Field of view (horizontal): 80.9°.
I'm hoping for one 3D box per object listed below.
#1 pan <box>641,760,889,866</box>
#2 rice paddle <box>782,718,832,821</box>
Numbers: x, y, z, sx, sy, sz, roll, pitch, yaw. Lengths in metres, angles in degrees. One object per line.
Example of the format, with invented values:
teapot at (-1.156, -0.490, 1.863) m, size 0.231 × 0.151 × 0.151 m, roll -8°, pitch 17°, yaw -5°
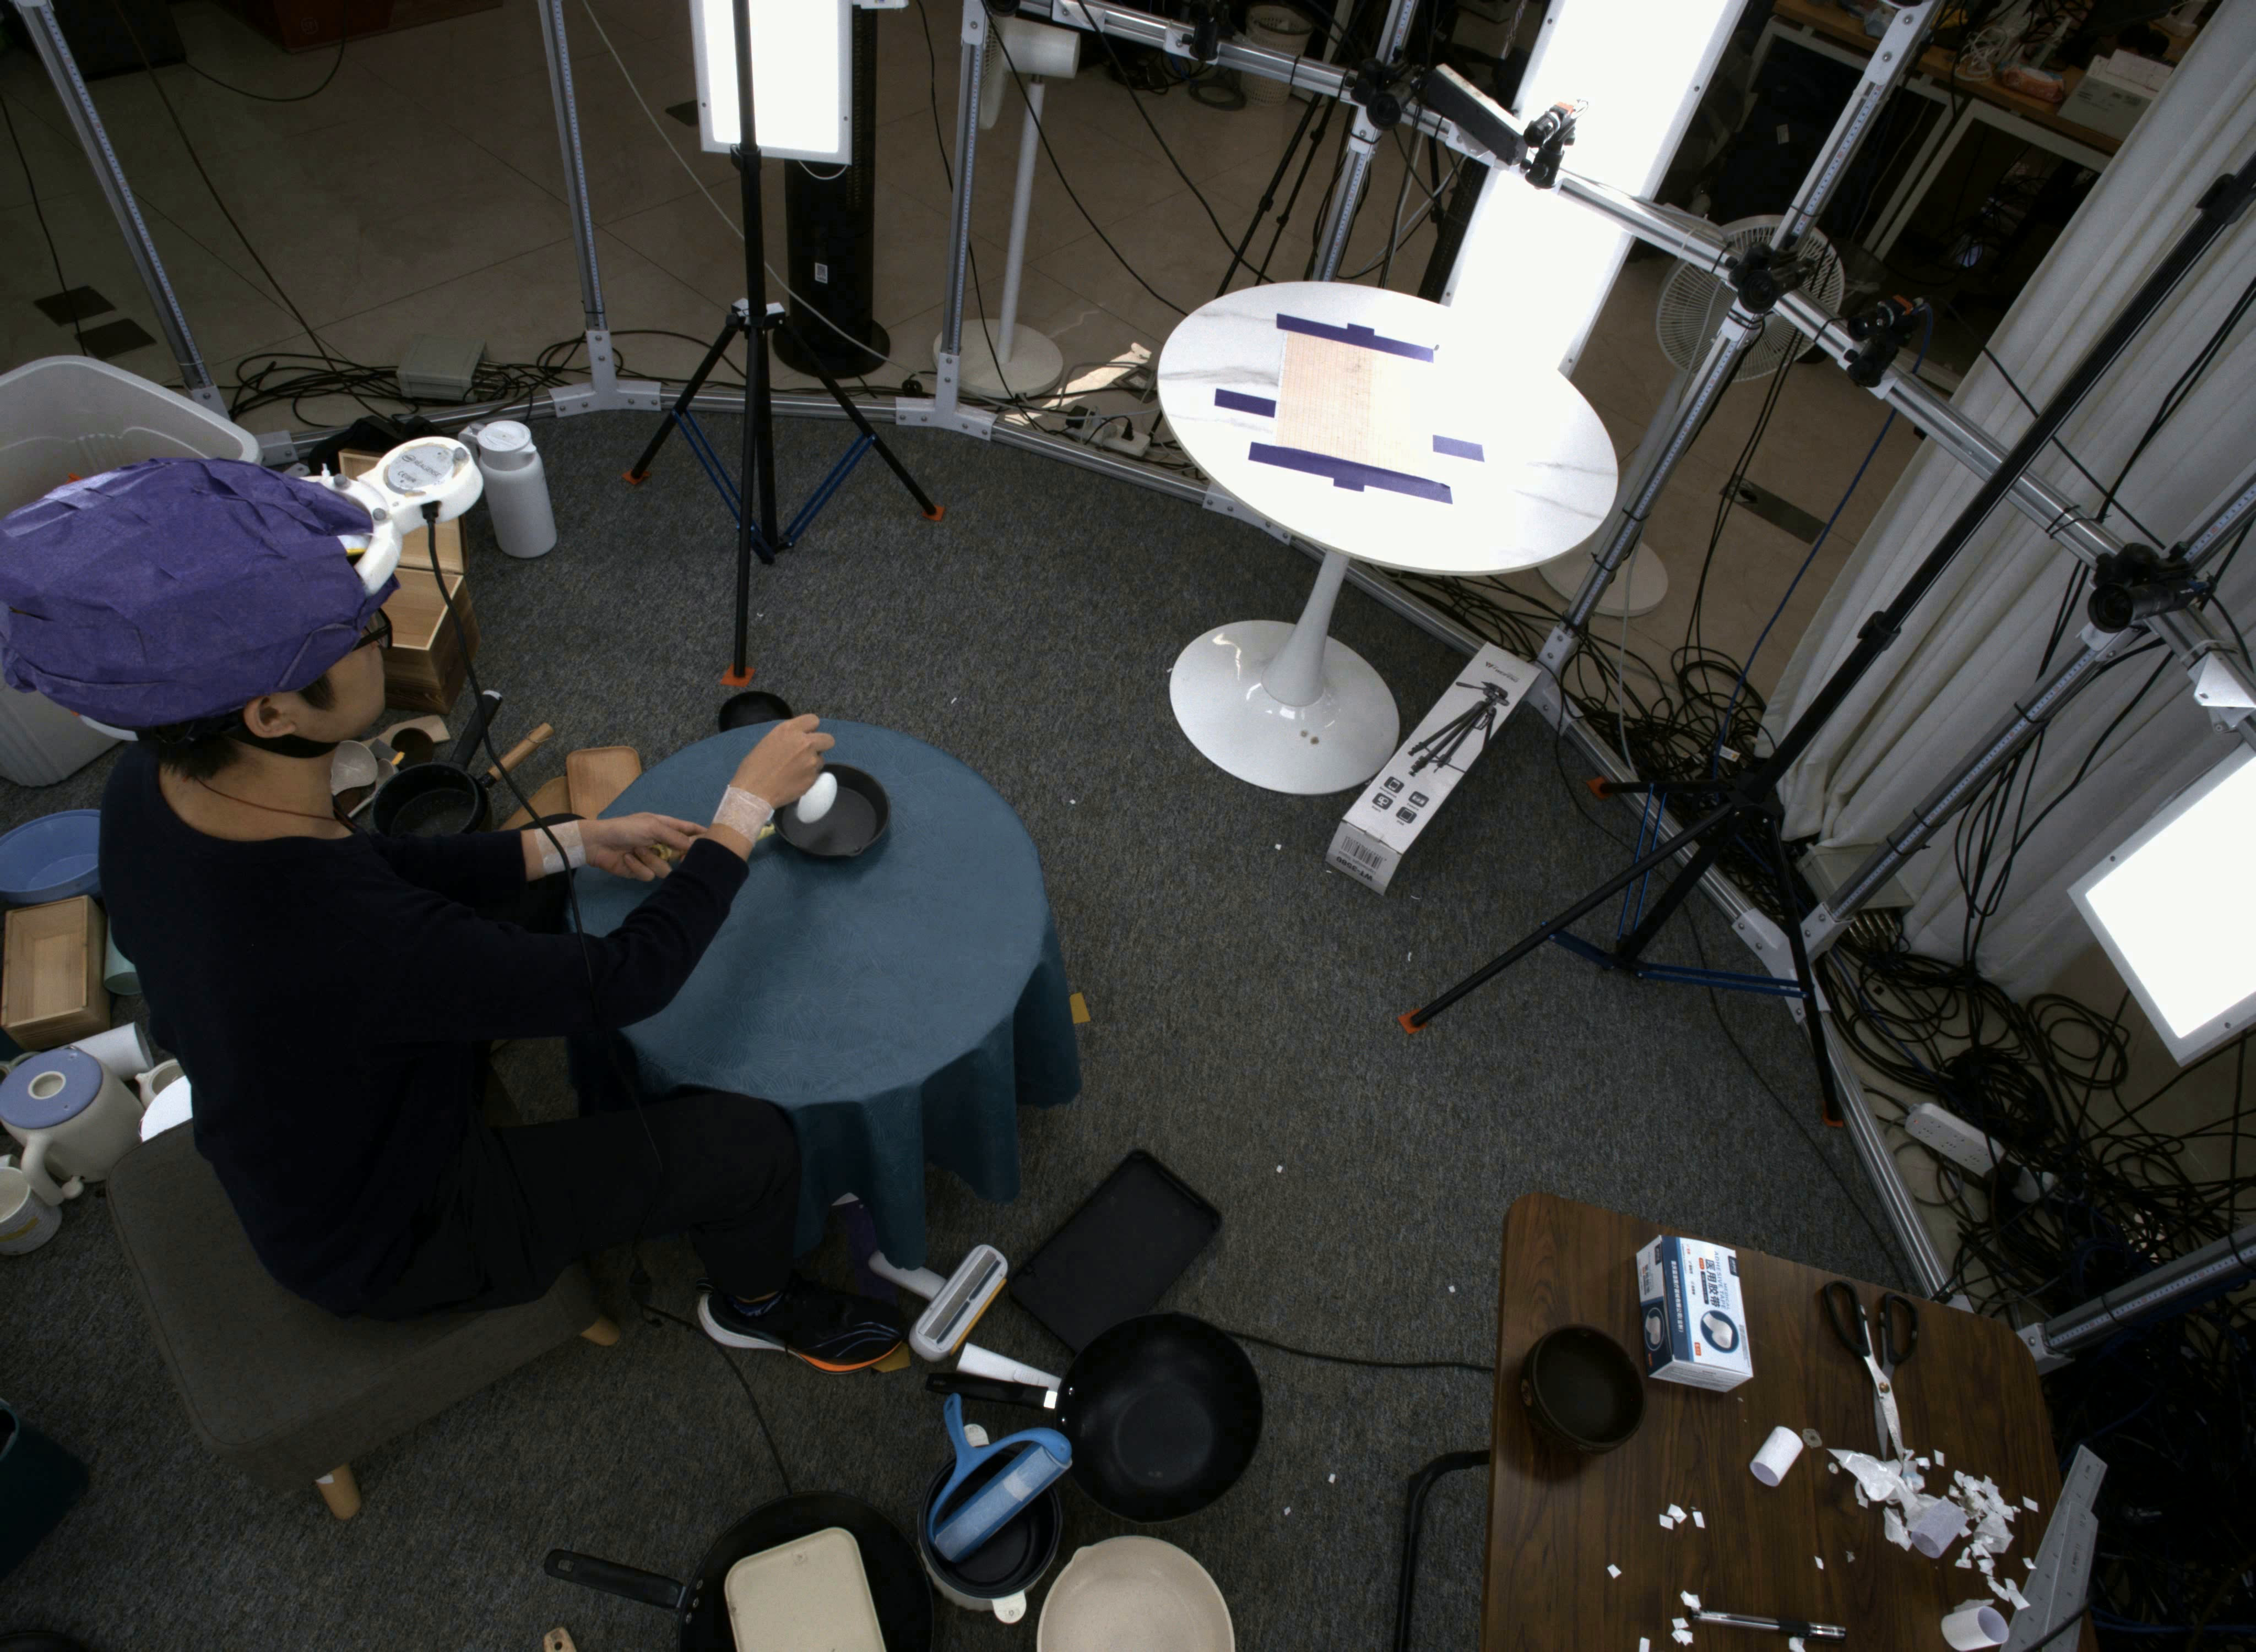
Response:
pan at (-0.465, 0.001, 1.664) m, size 0.326 × 0.050 × 0.165 m, roll -16°, pitch 59°, yaw -29°
rice paddle at (-0.396, -0.067, 1.596) m, size 0.029 × 0.209 × 0.069 m, roll 36°, pitch 66°, yaw 12°
